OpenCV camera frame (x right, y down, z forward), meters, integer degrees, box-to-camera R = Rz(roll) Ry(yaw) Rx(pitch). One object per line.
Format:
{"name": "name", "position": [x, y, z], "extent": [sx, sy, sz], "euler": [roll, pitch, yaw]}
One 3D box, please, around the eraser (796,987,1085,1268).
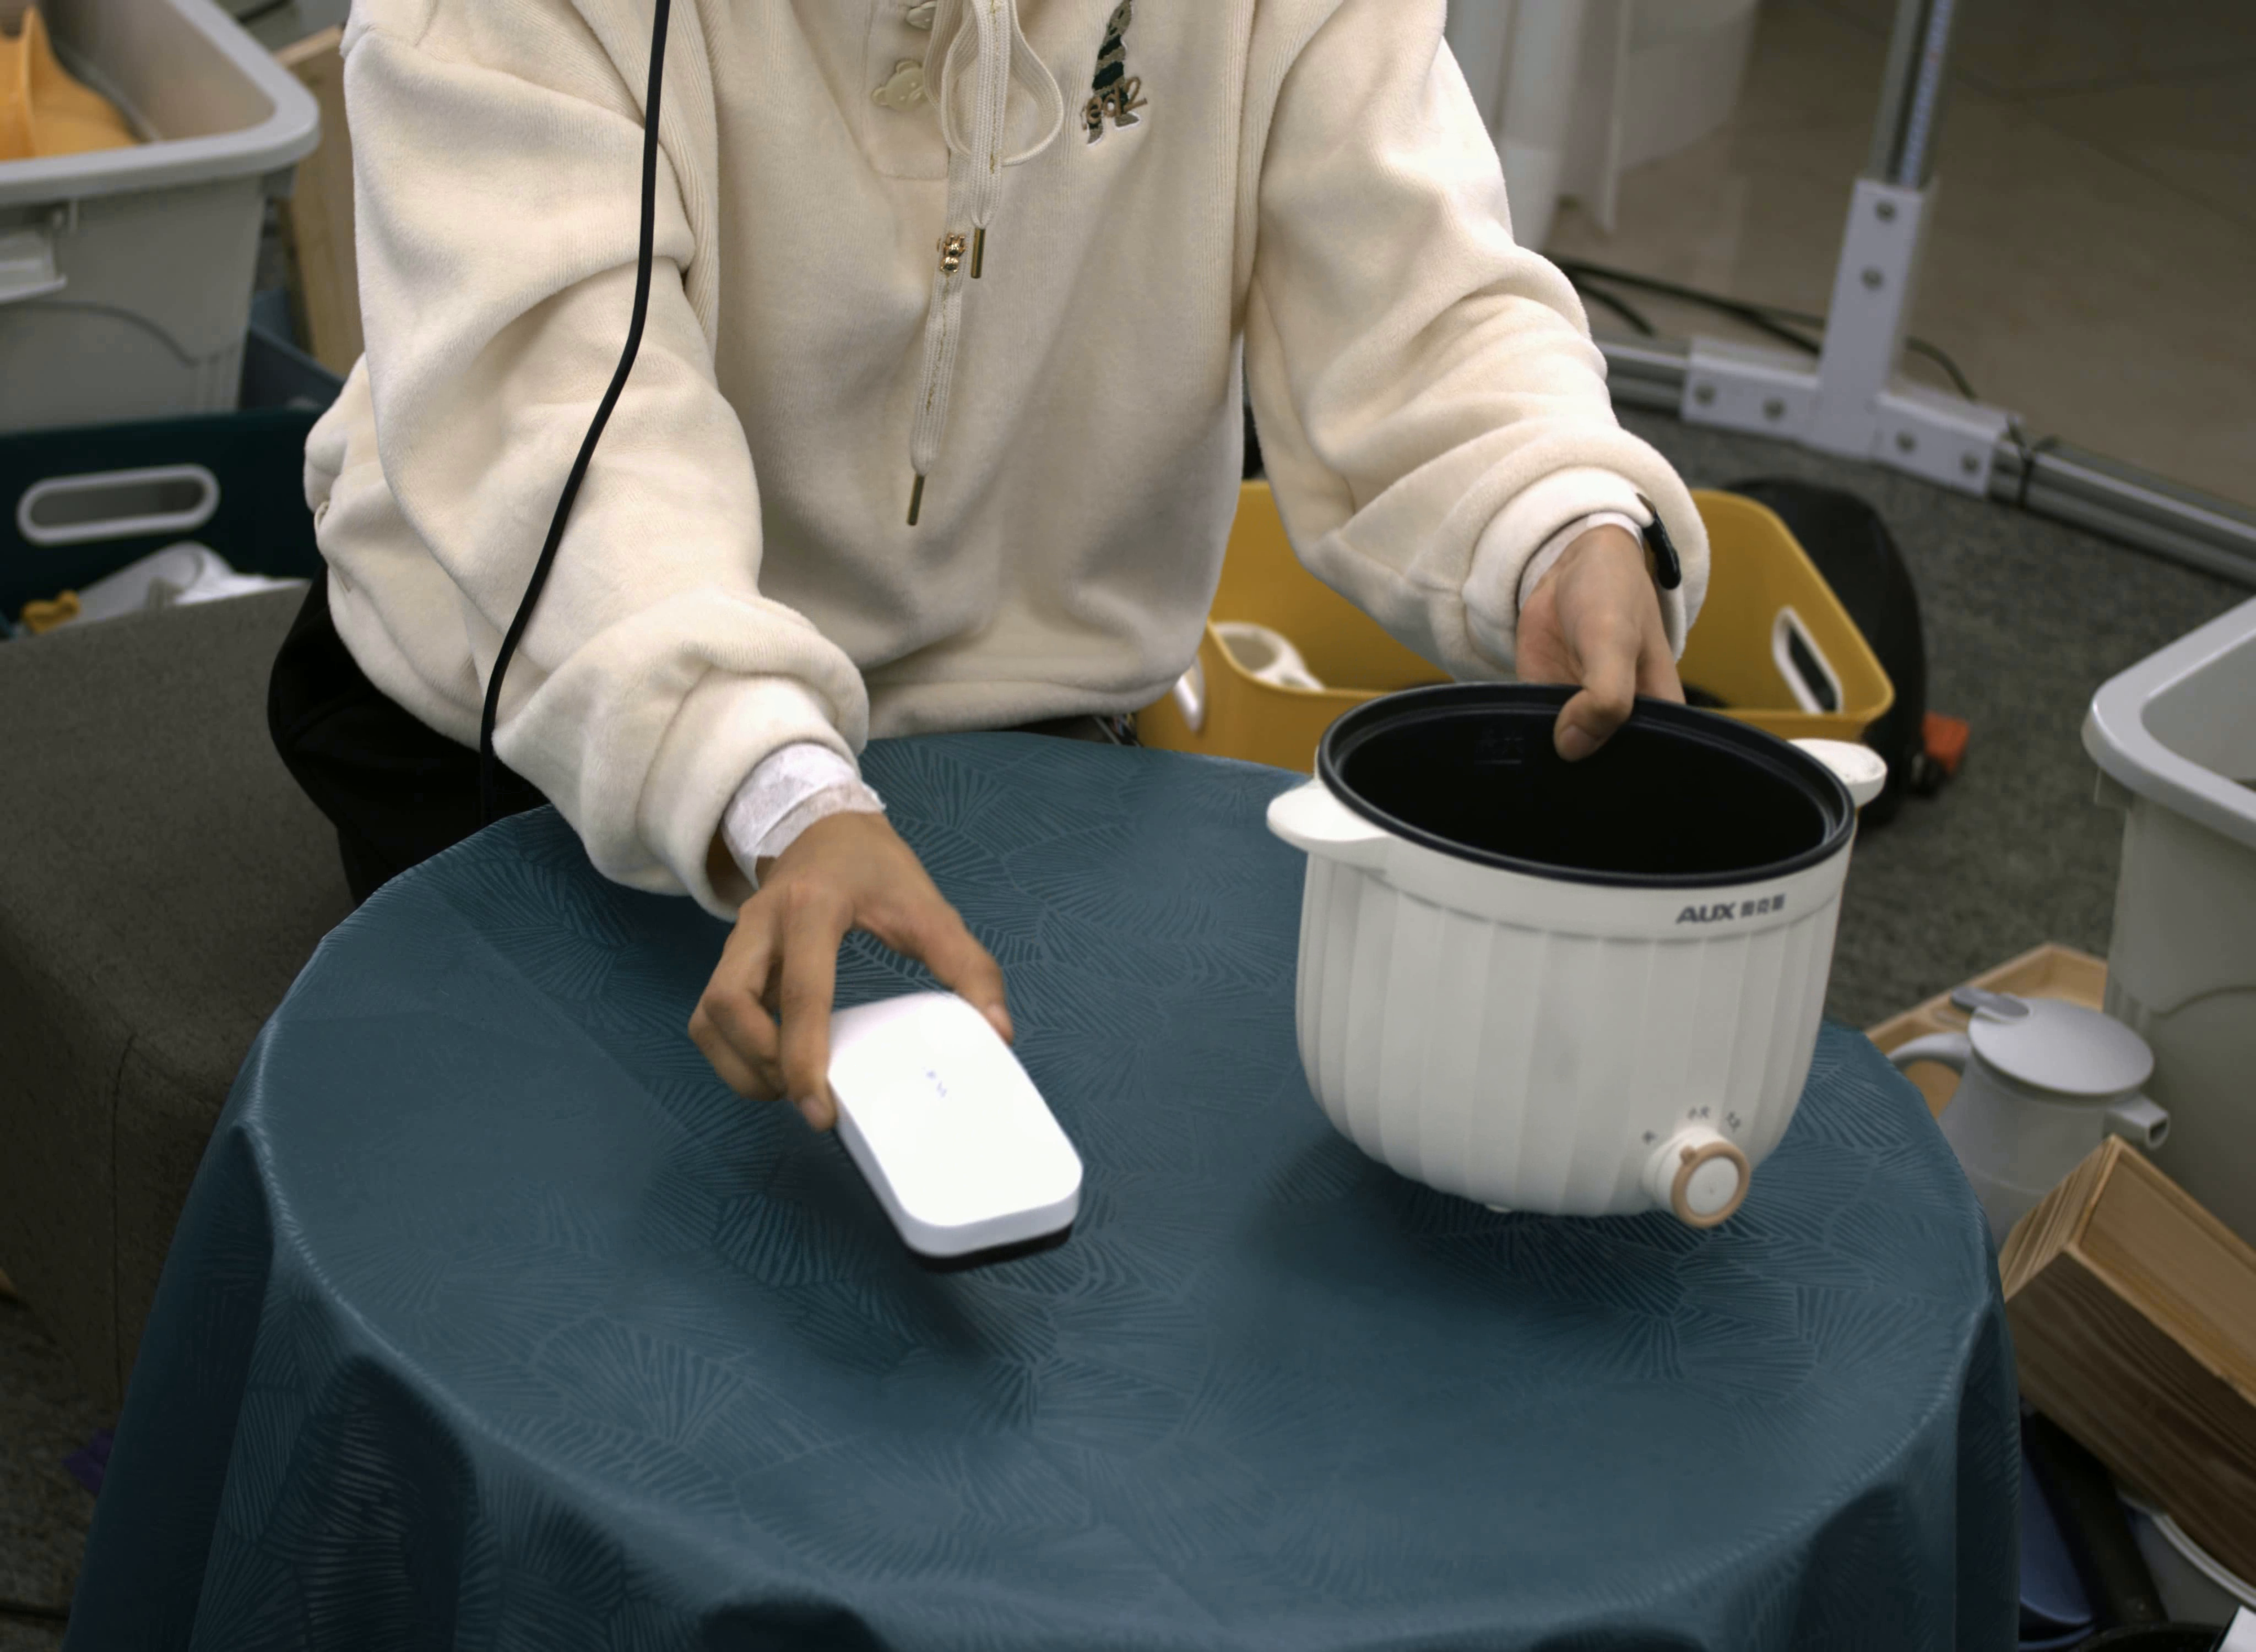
{"name": "eraser", "position": [-0.061, 0.094, 1.725], "extent": [0.063, 0.034, 0.132], "euler": [-11, 33, -19]}

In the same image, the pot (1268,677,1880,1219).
{"name": "pot", "position": [0.150, 0.045, 1.790], "extent": [0.239, 0.142, 0.192], "euler": [-8, 21, -28]}
